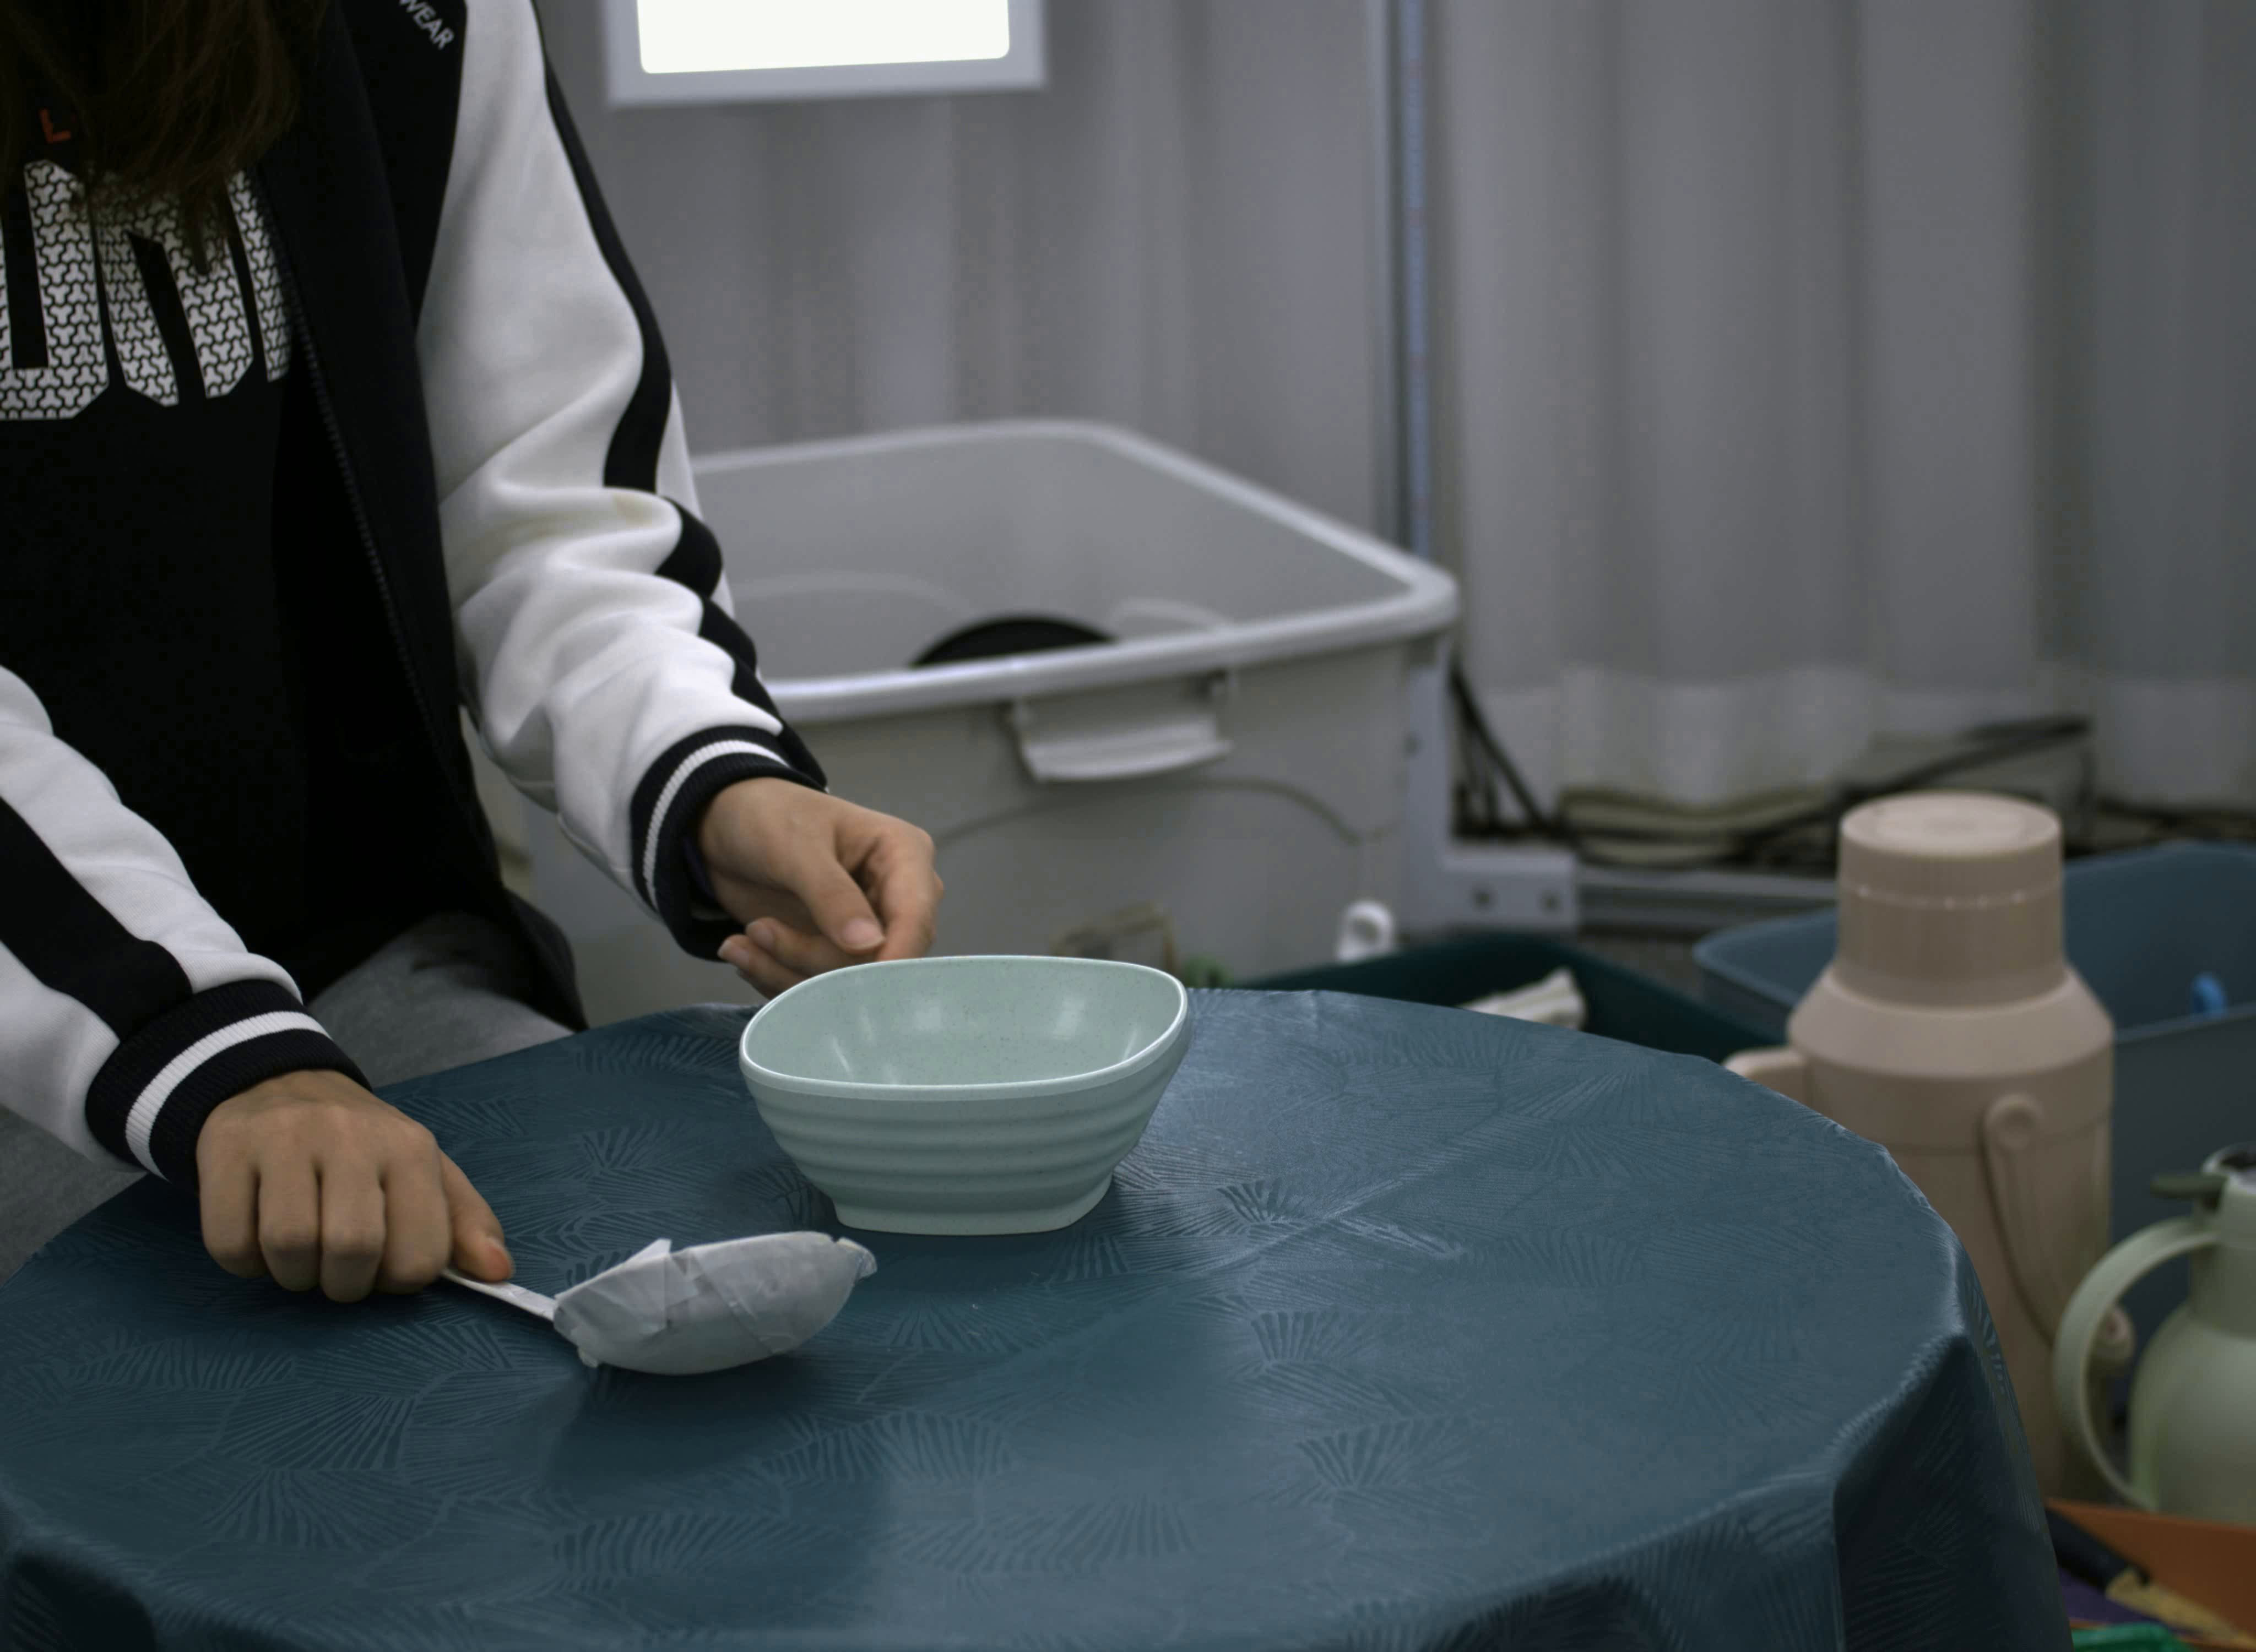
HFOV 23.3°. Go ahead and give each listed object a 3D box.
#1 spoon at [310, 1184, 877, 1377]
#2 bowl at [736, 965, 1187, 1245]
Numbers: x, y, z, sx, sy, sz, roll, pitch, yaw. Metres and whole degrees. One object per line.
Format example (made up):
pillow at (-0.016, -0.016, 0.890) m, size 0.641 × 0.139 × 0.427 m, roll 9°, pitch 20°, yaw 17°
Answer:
spoon at (-0.170, 0.117, 1.636) m, size 0.100 × 0.059 × 0.279 m, roll 11°, pitch 3°, yaw -35°
bowl at (-0.050, 0.091, 1.715) m, size 0.151 × 0.058 × 0.152 m, roll -3°, pitch 14°, yaw 0°
